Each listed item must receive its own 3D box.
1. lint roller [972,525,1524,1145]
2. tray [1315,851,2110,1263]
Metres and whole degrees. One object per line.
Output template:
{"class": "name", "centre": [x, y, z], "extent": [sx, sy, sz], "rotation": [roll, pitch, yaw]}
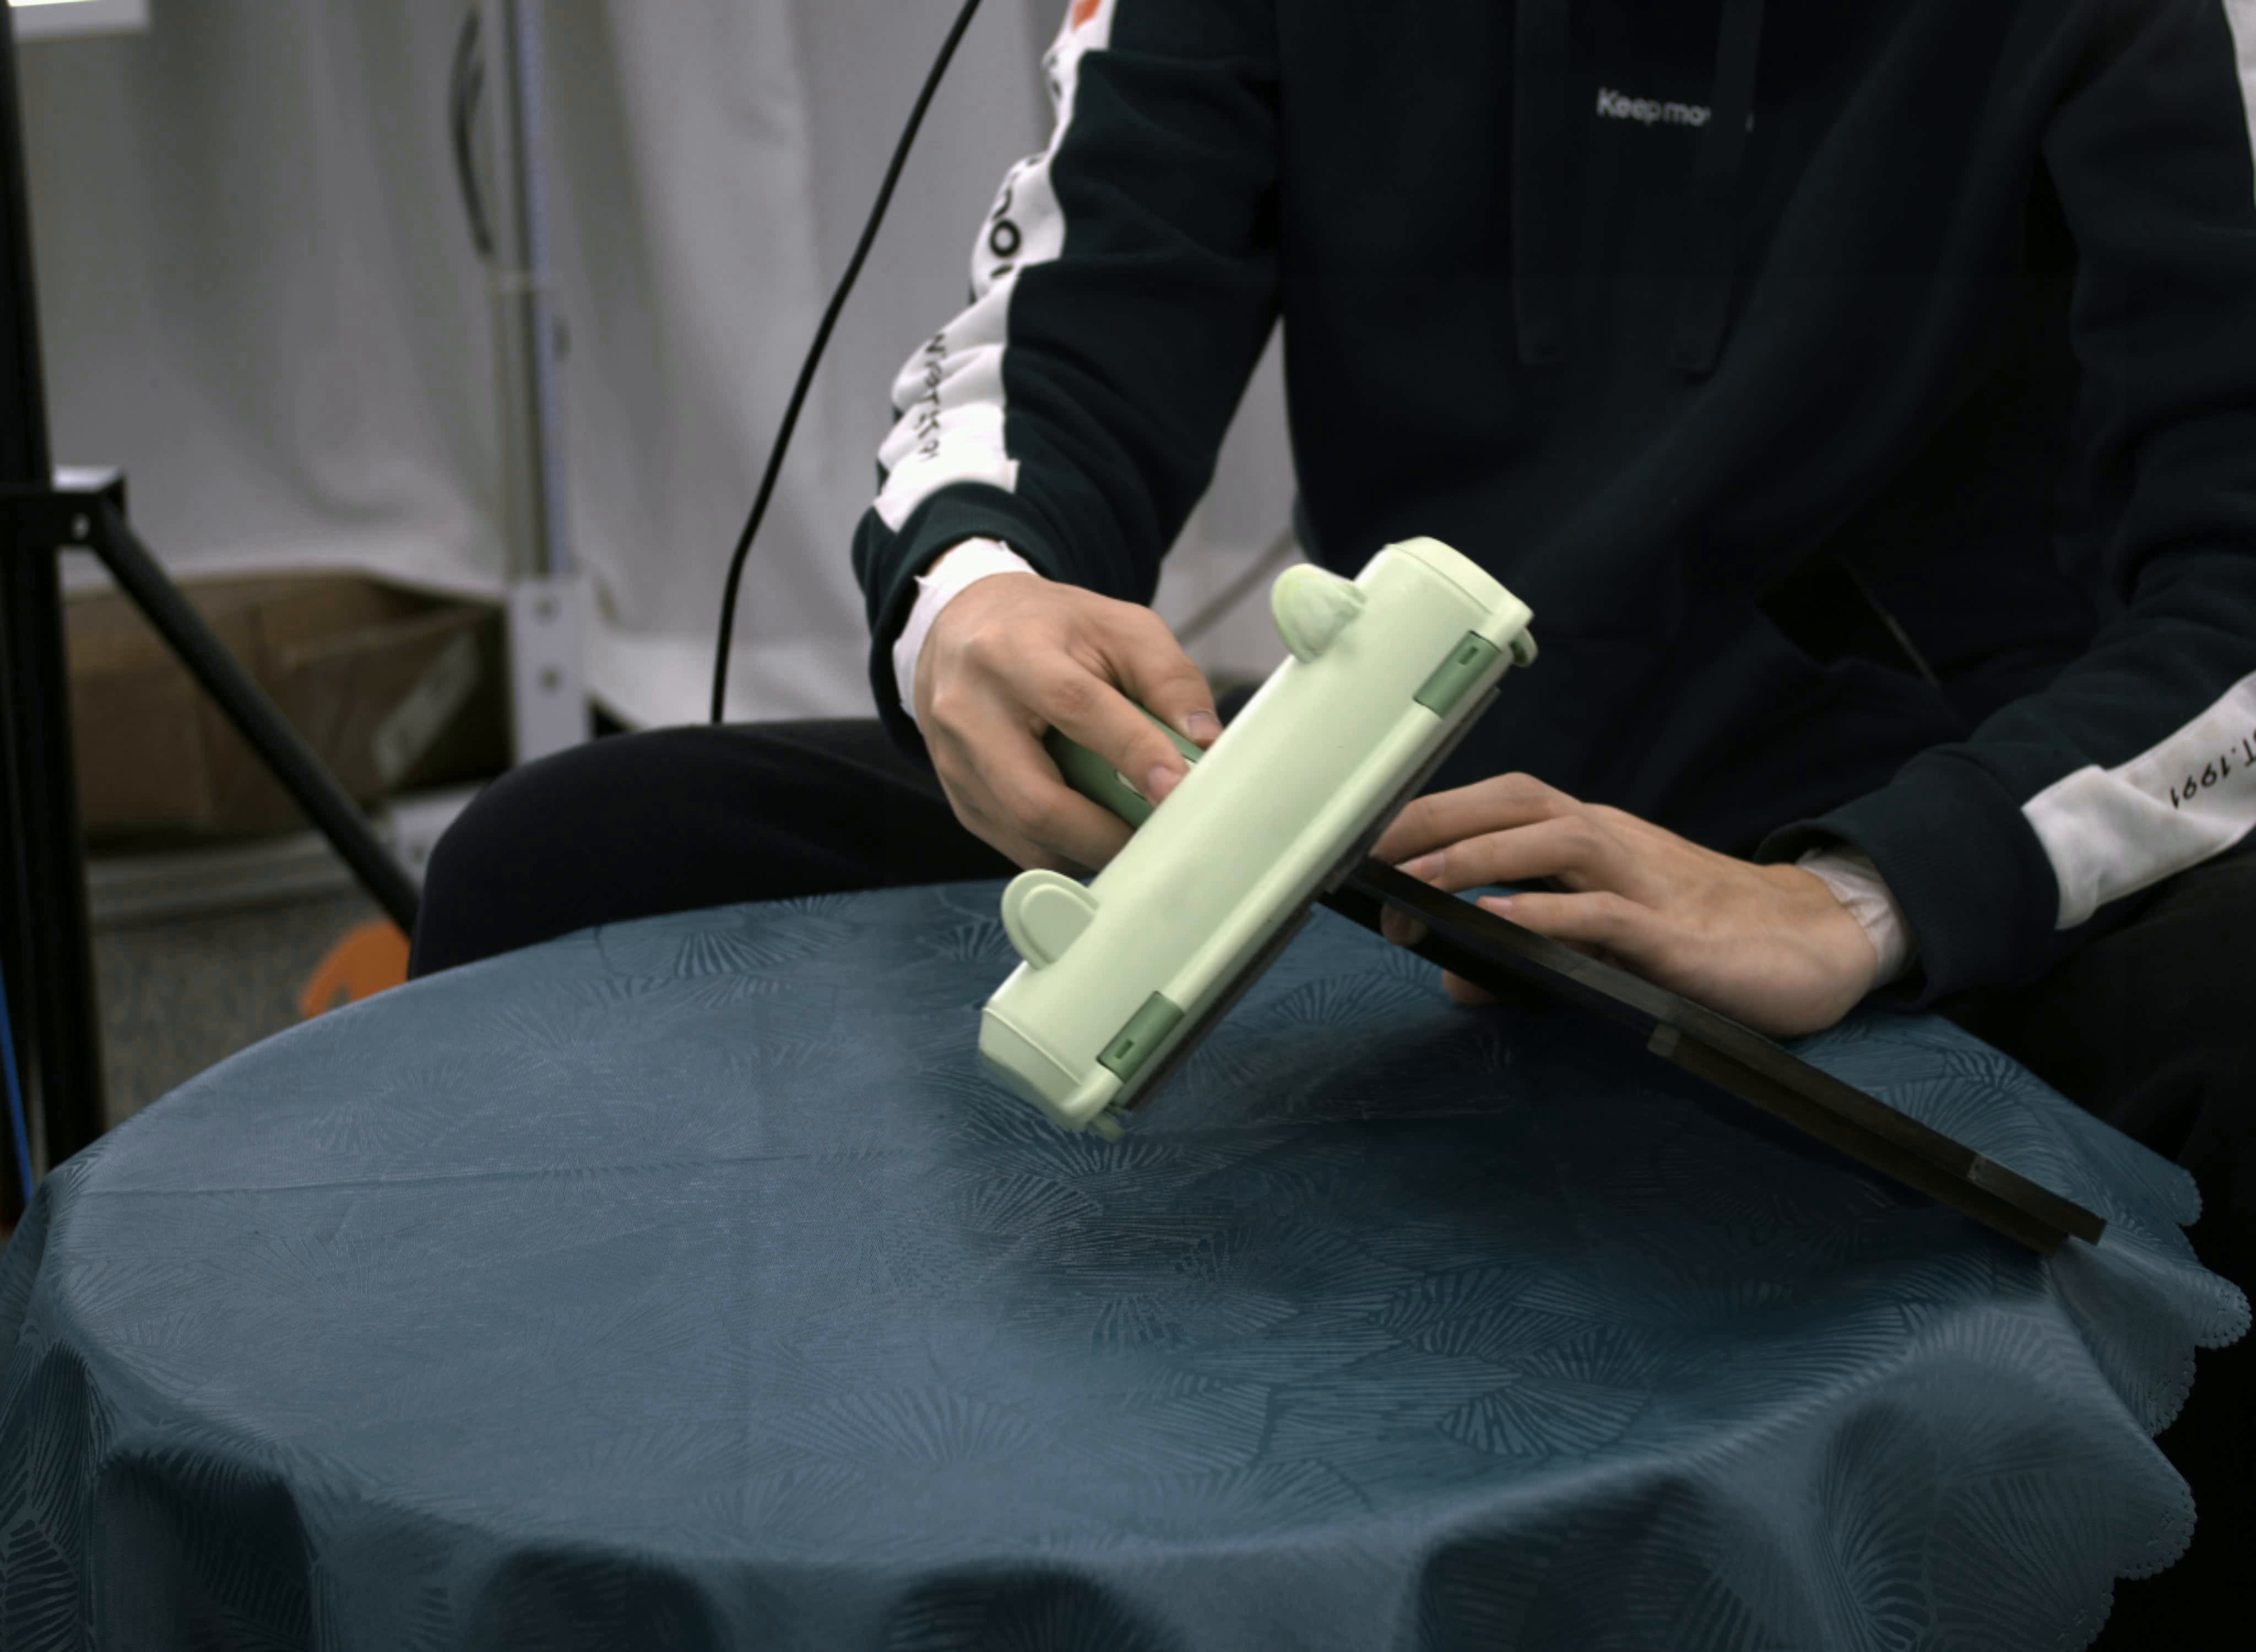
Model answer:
{"class": "lint roller", "centre": [0.002, -0.021, 1.546], "extent": [0.198, 0.080, 0.187], "rotation": [-49, 39, -6]}
{"class": "tray", "centre": [0.140, 0.055, 1.548], "extent": [0.166, 0.018, 0.312], "rotation": [28, -1, -31]}
